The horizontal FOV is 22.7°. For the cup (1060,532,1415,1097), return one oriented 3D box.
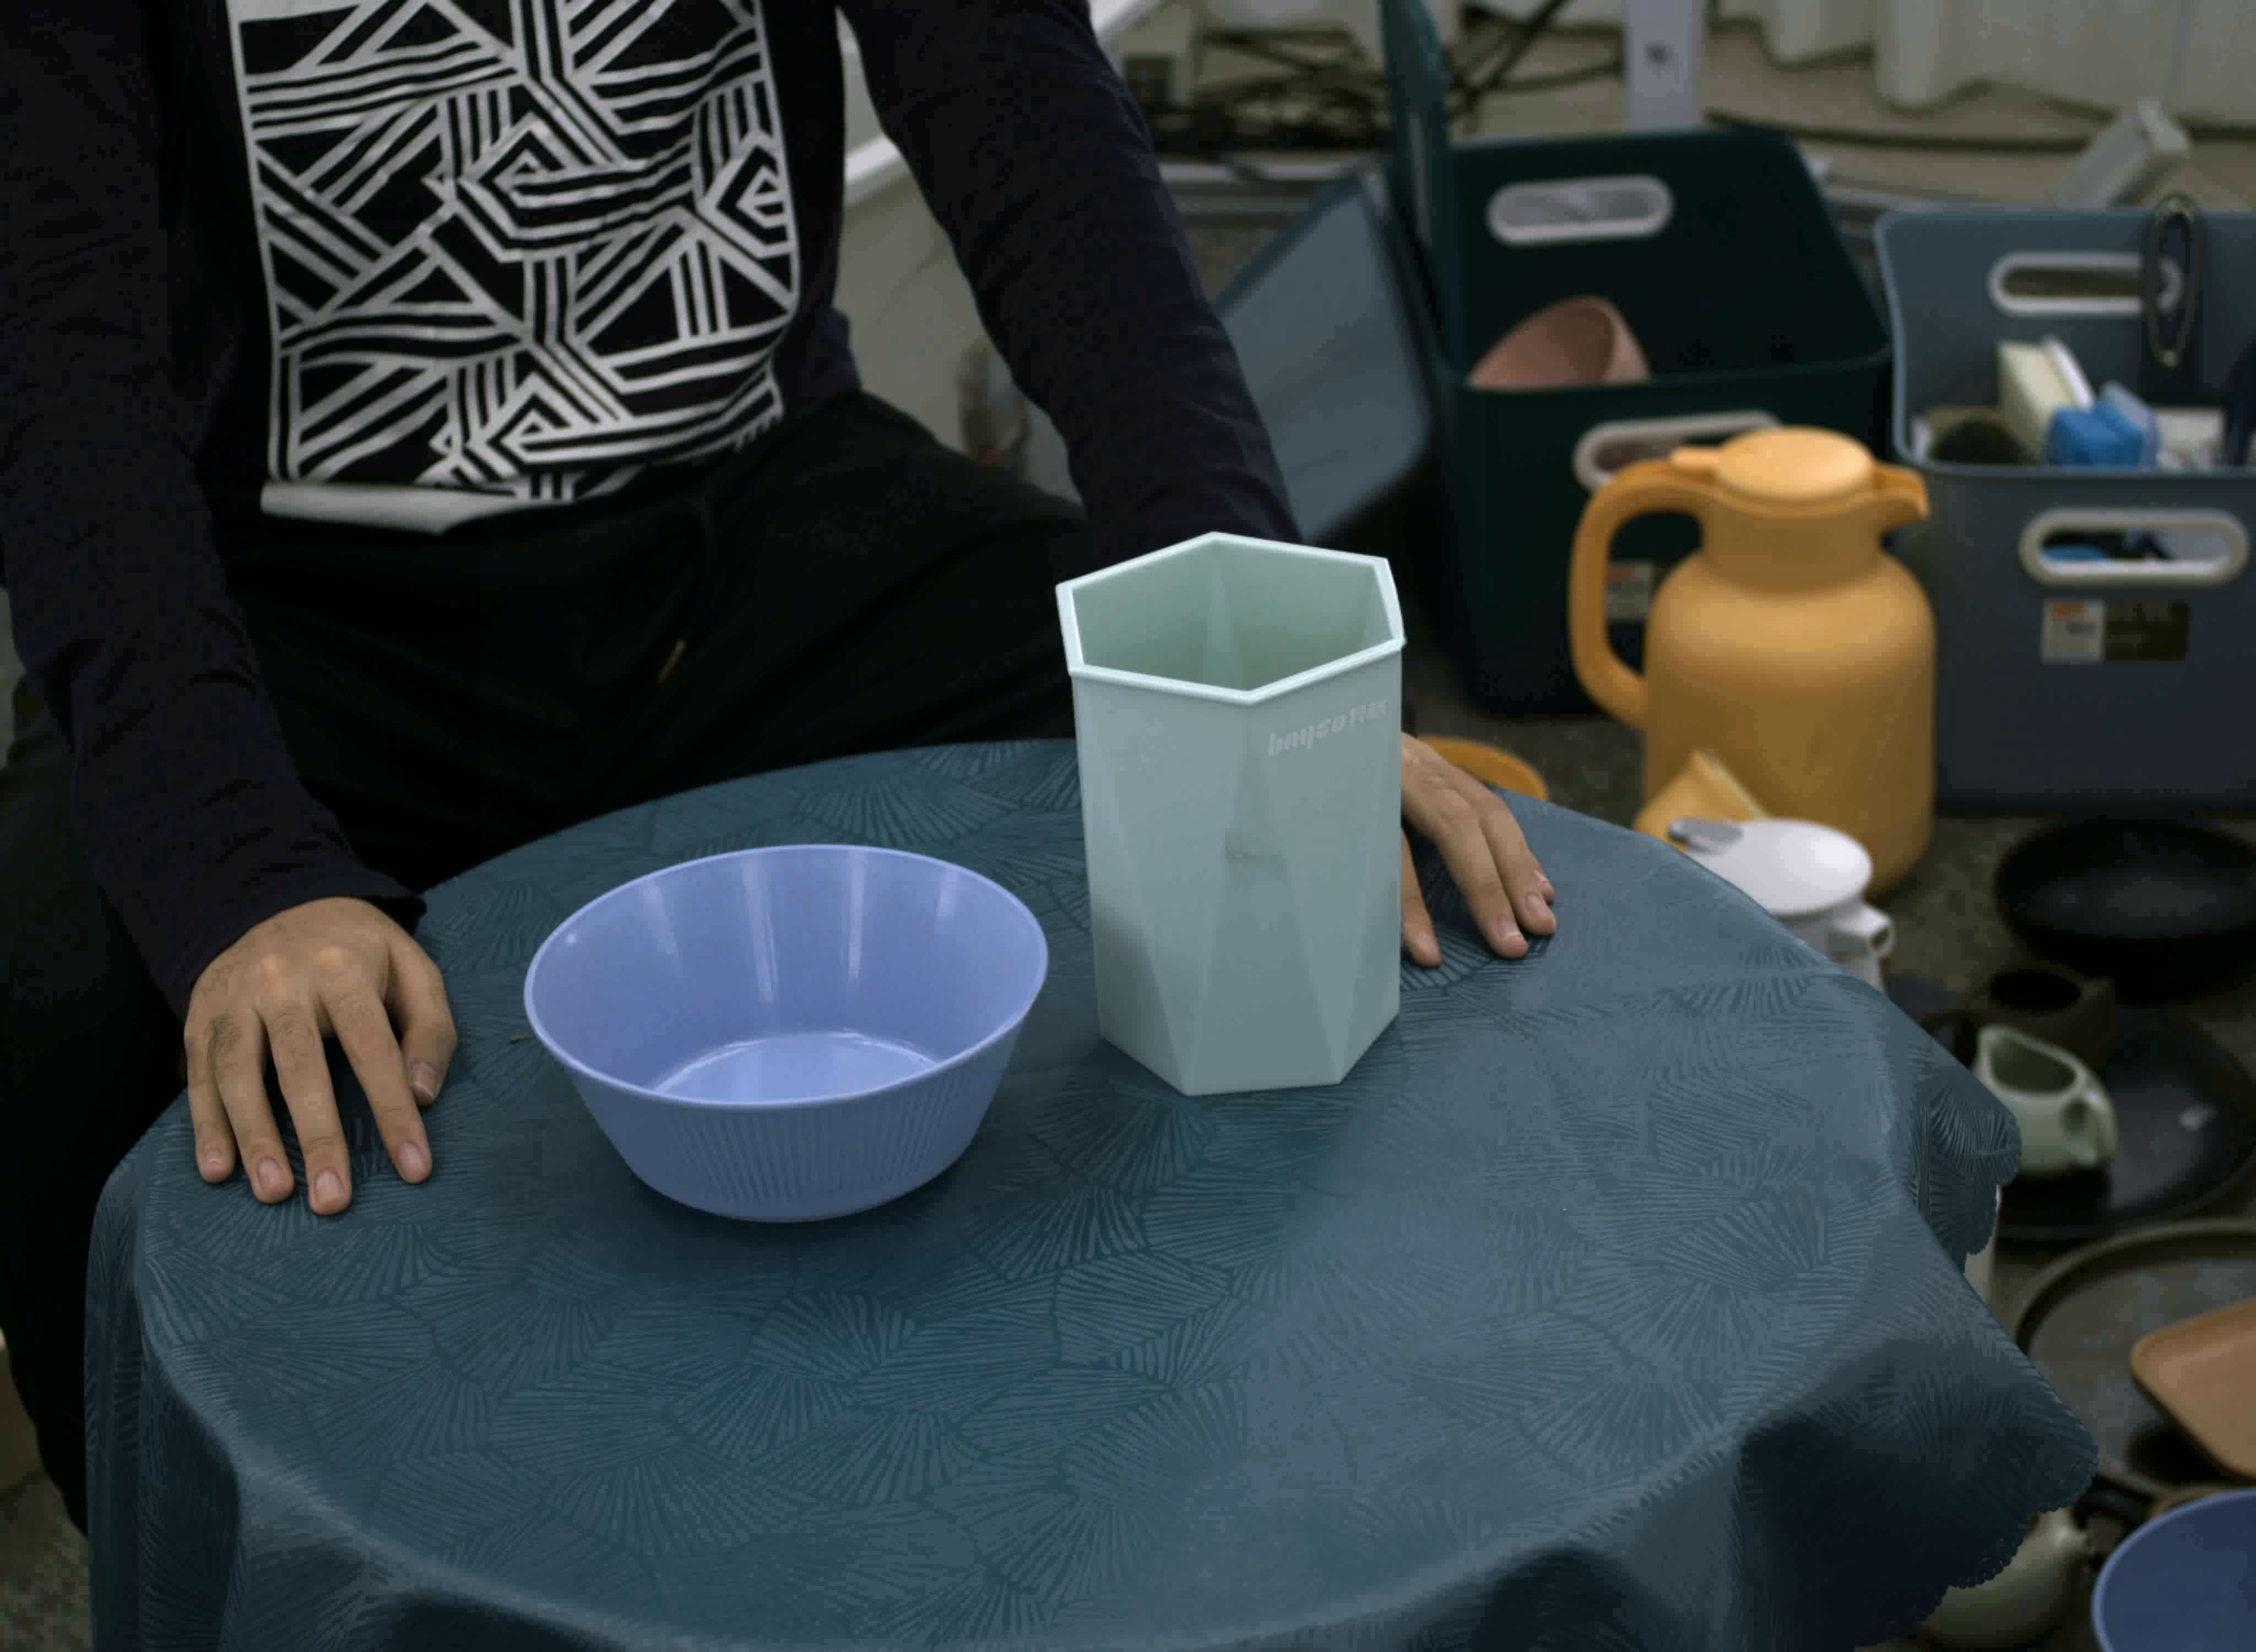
[{"bbox_3d":[0.040,-0.002,1.919,0.132,0.161,0.115,-19,29,-32],"label":"cup"}]

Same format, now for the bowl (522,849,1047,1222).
[{"bbox_3d":[-0.113,0.076,1.883,0.175,0.069,0.179,-2,27,1],"label":"bowl"}]
